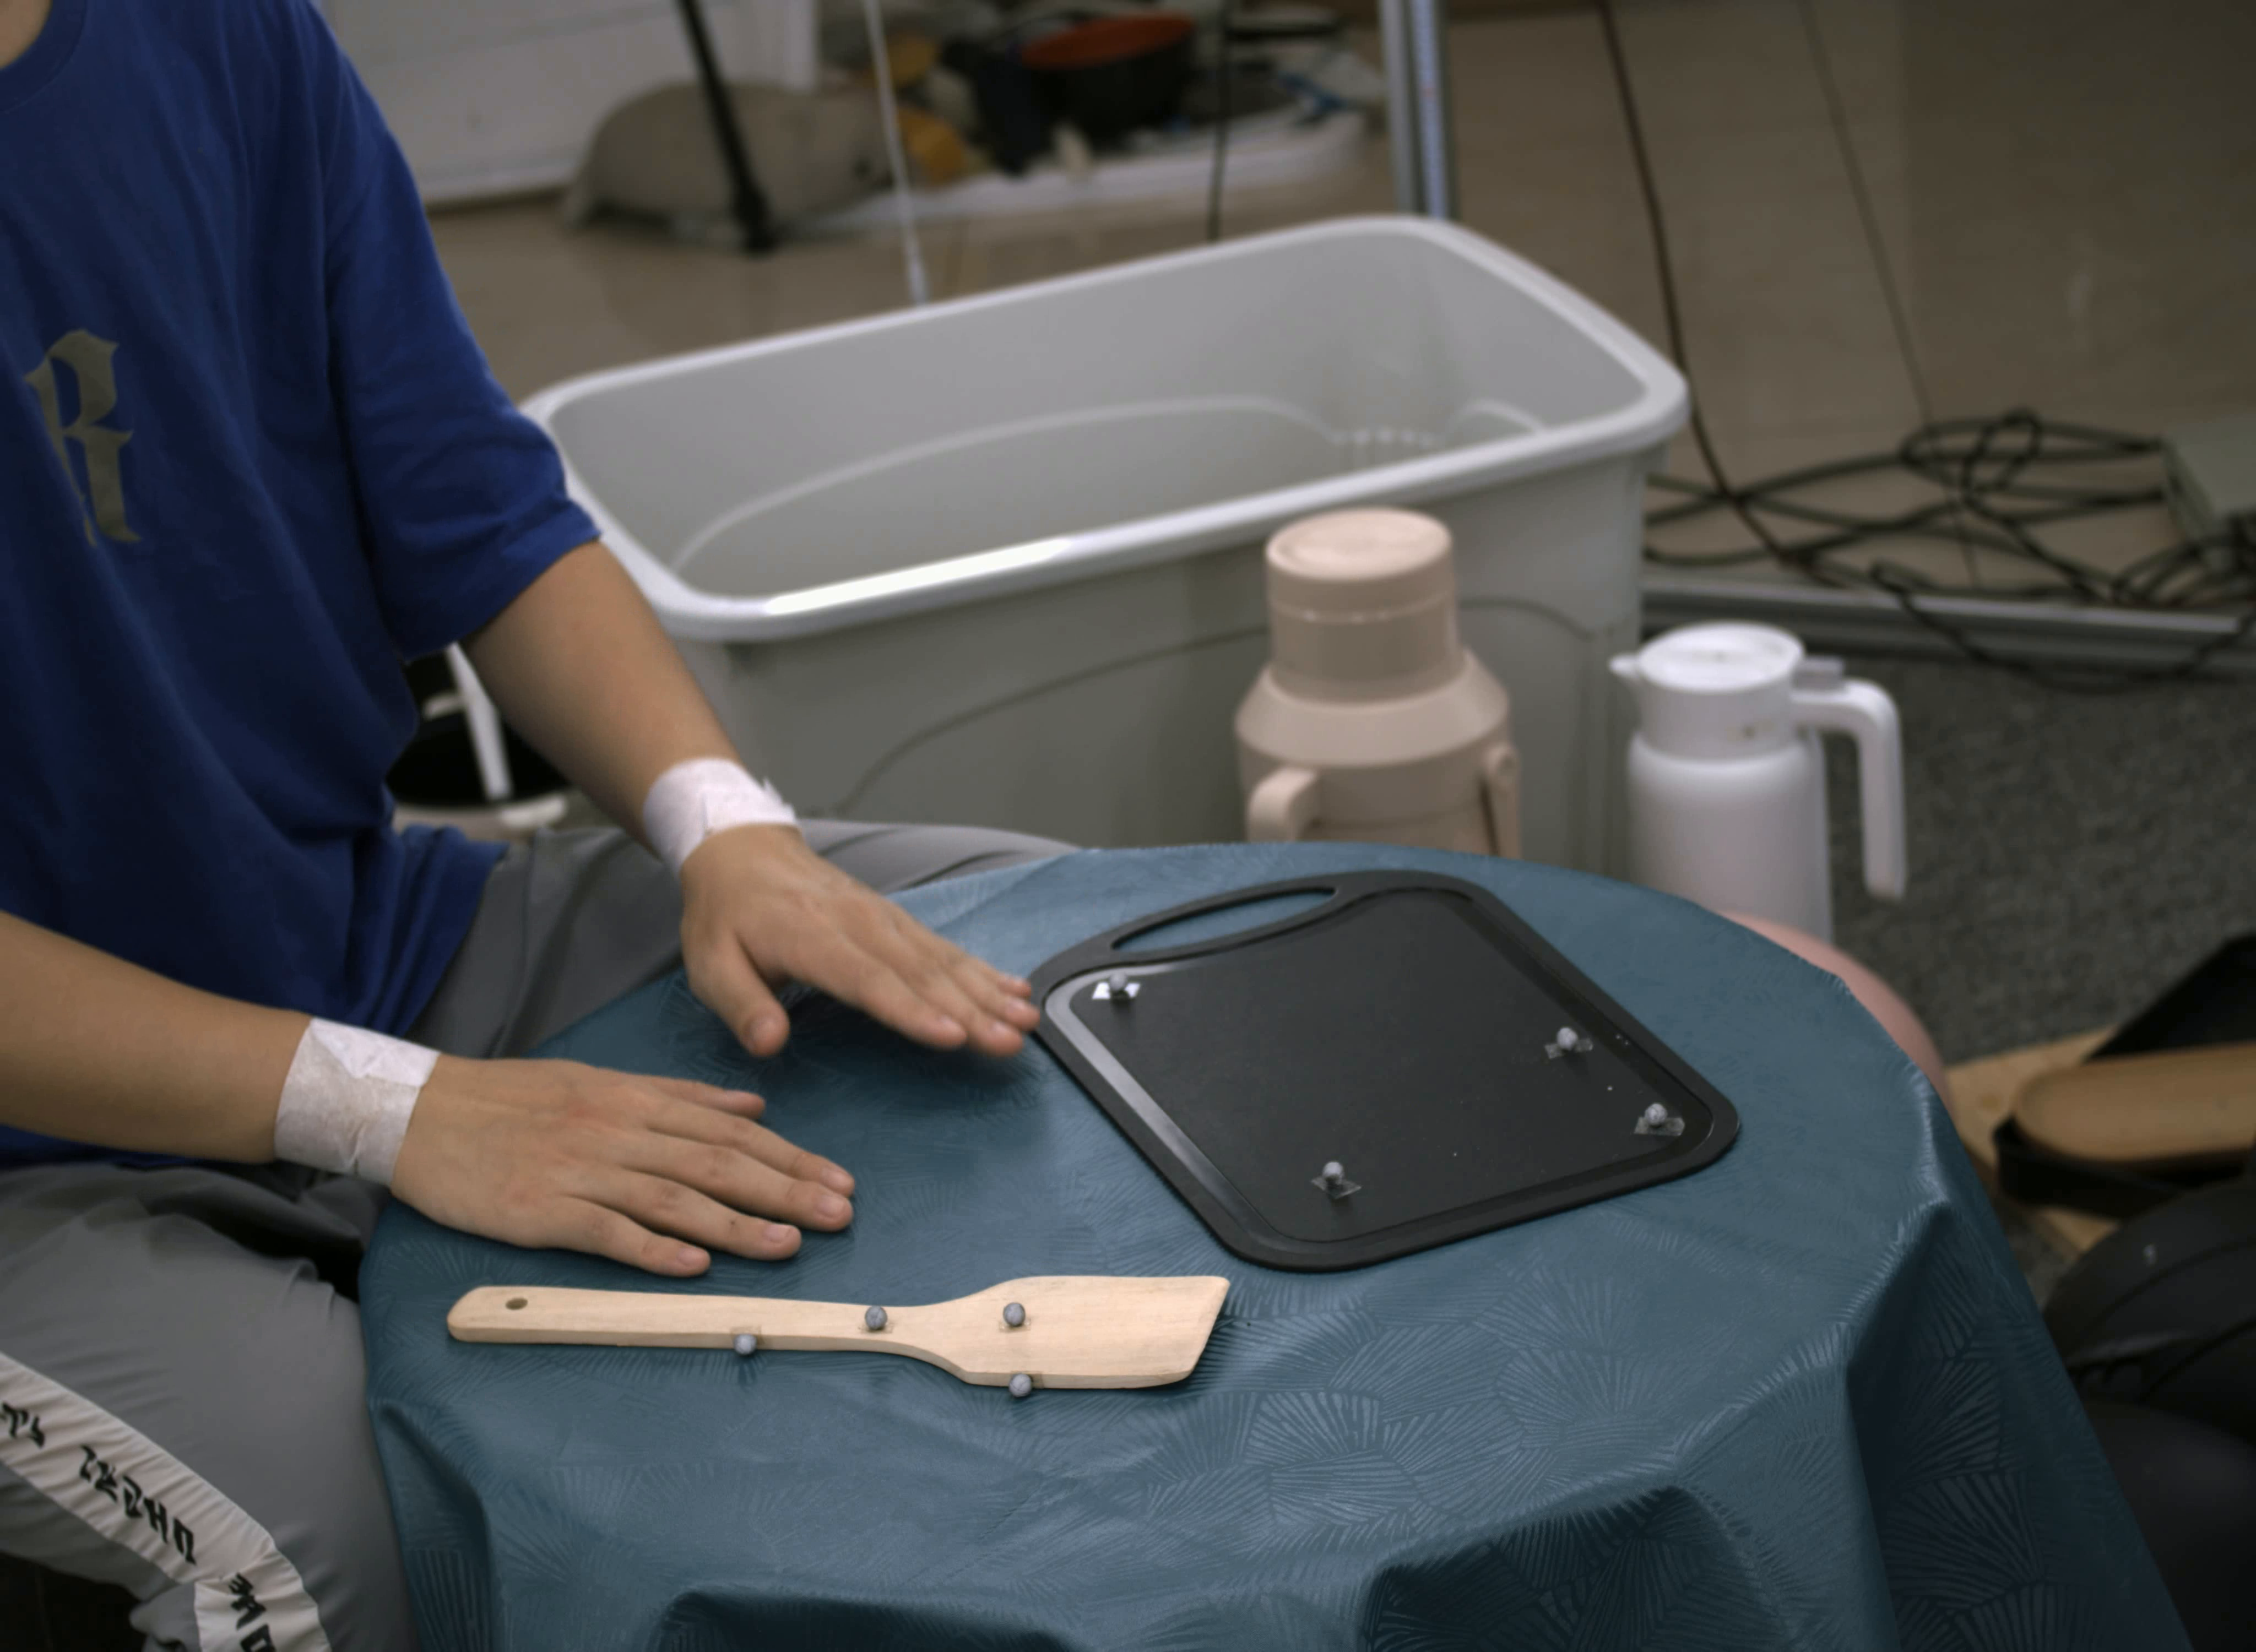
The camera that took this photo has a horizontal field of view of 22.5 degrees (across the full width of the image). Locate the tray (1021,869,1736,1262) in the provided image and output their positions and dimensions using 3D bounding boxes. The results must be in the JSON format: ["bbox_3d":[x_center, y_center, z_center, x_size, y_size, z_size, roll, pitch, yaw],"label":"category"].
[{"bbox_3d":[0.089,0.086,2.231,0.210,0.010,0.321,-14,26,-16],"label":"tray"}]

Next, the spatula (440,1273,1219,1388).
[{"bbox_3d":[-0.114,0.181,2.073,0.292,0.011,0.071,0,27,15],"label":"spatula"}]
